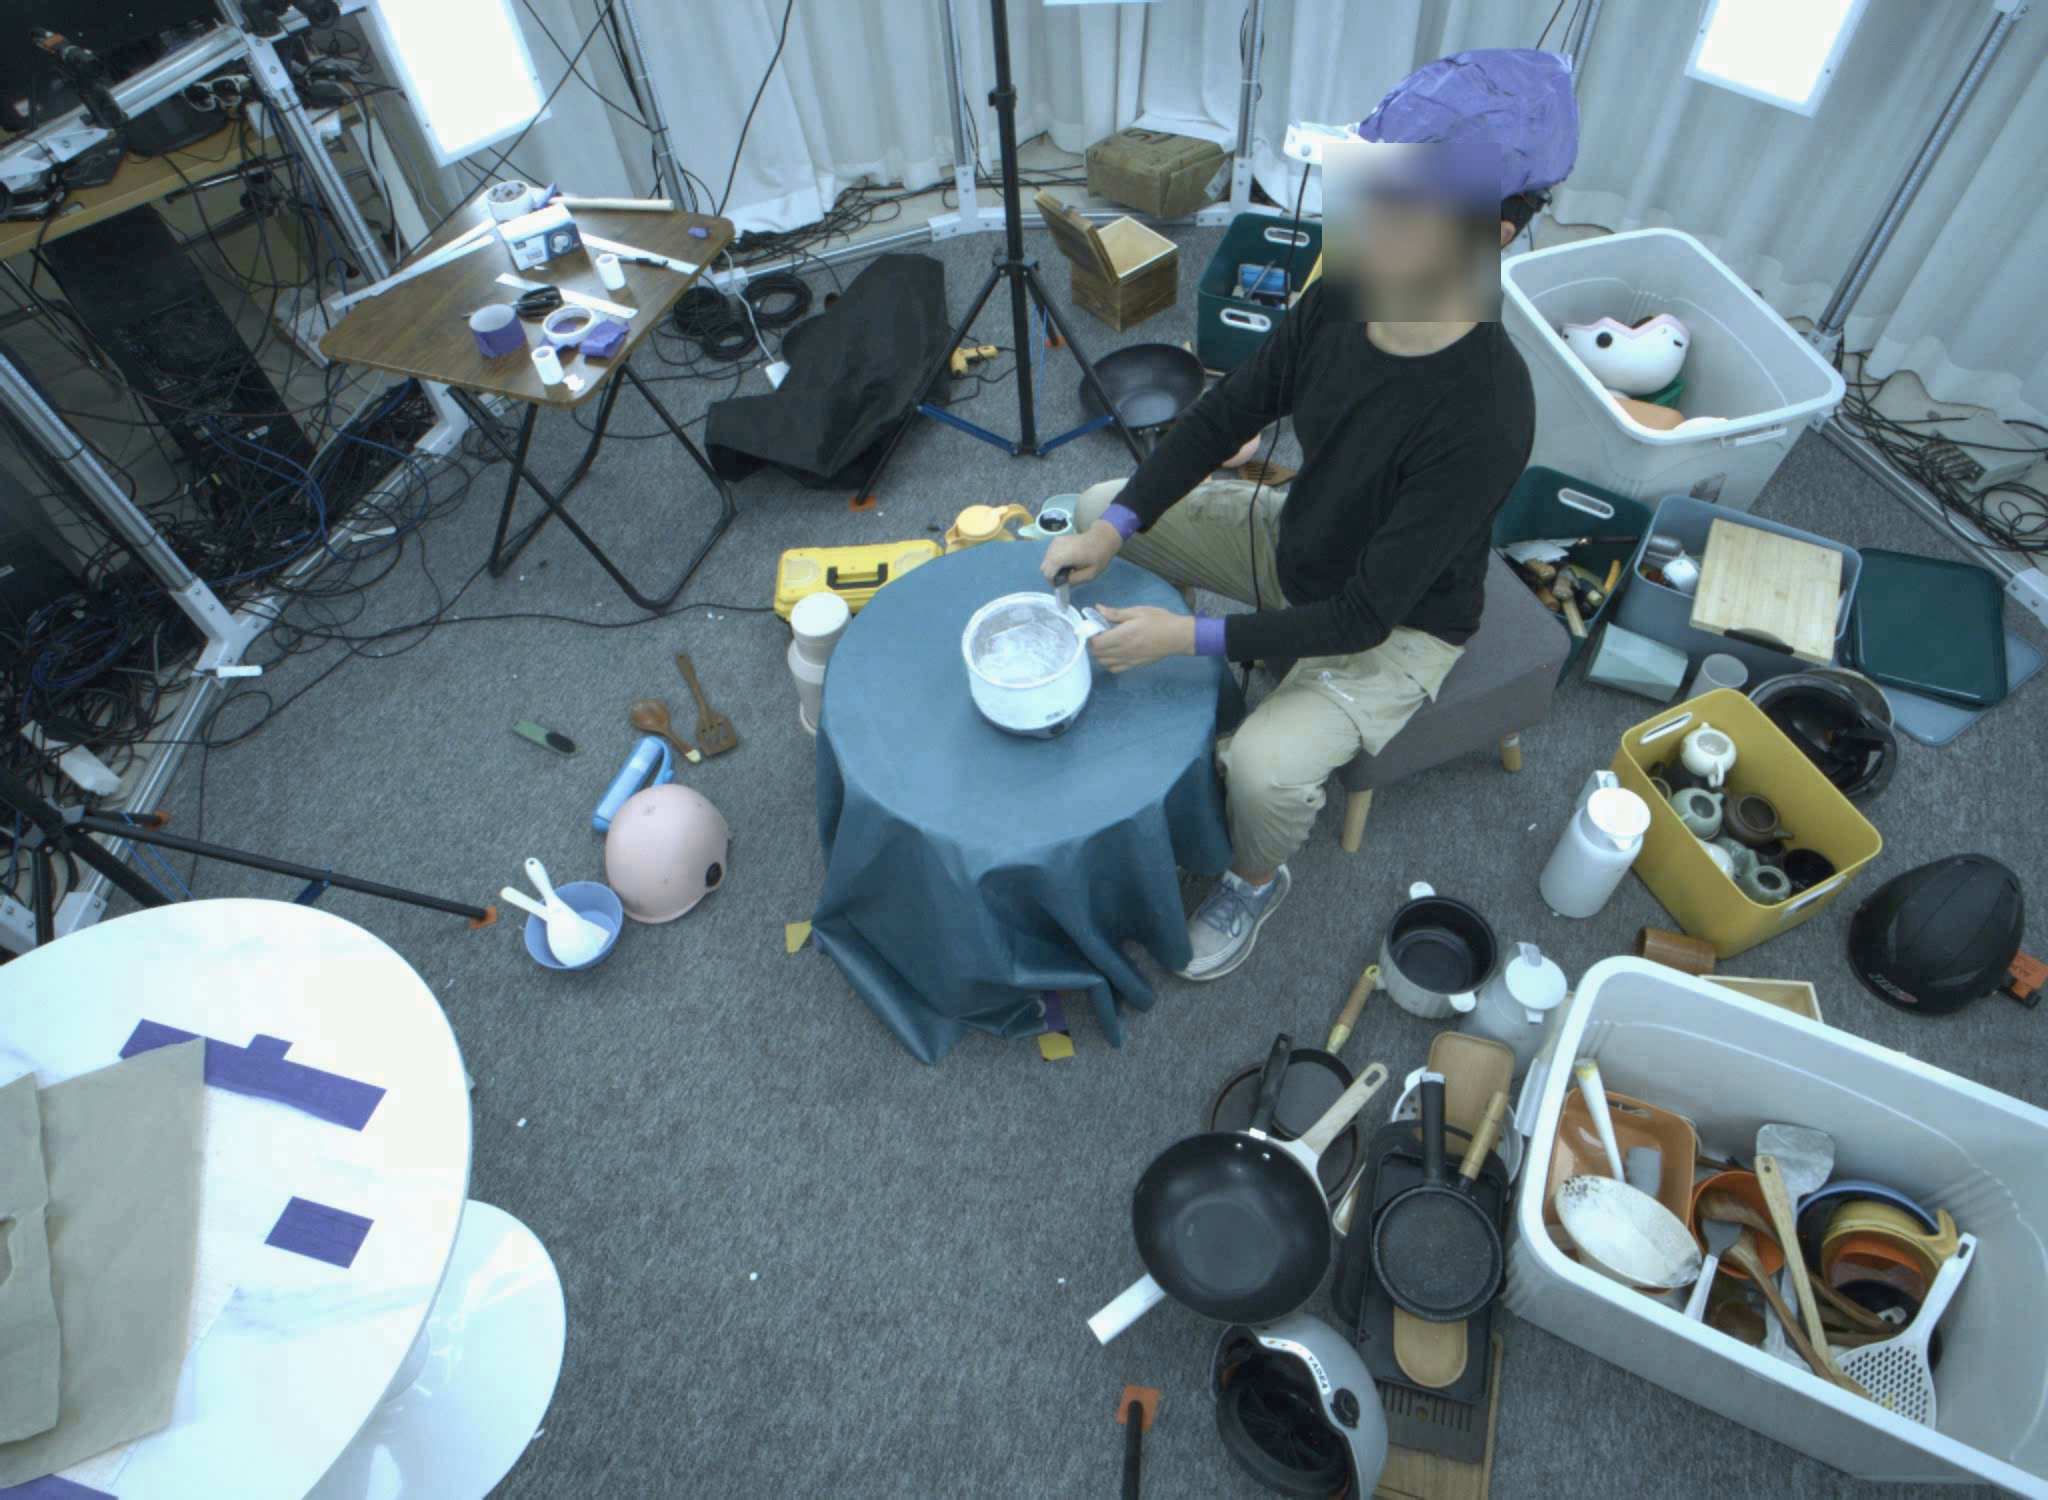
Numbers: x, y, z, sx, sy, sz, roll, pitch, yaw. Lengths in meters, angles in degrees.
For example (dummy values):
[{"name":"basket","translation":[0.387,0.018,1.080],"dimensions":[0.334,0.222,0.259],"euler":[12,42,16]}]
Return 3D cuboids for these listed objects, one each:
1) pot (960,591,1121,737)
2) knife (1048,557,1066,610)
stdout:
[{"name":"pot","translation":[0.030,-0.134,1.786],"dimensions":[0.235,0.138,0.175],"euler":[-25,58,-11]},{"name":"knife","translation":[0.048,-0.245,1.805],"dimensions":[0.024,0.016,0.236],"euler":[-24,21,14]}]
